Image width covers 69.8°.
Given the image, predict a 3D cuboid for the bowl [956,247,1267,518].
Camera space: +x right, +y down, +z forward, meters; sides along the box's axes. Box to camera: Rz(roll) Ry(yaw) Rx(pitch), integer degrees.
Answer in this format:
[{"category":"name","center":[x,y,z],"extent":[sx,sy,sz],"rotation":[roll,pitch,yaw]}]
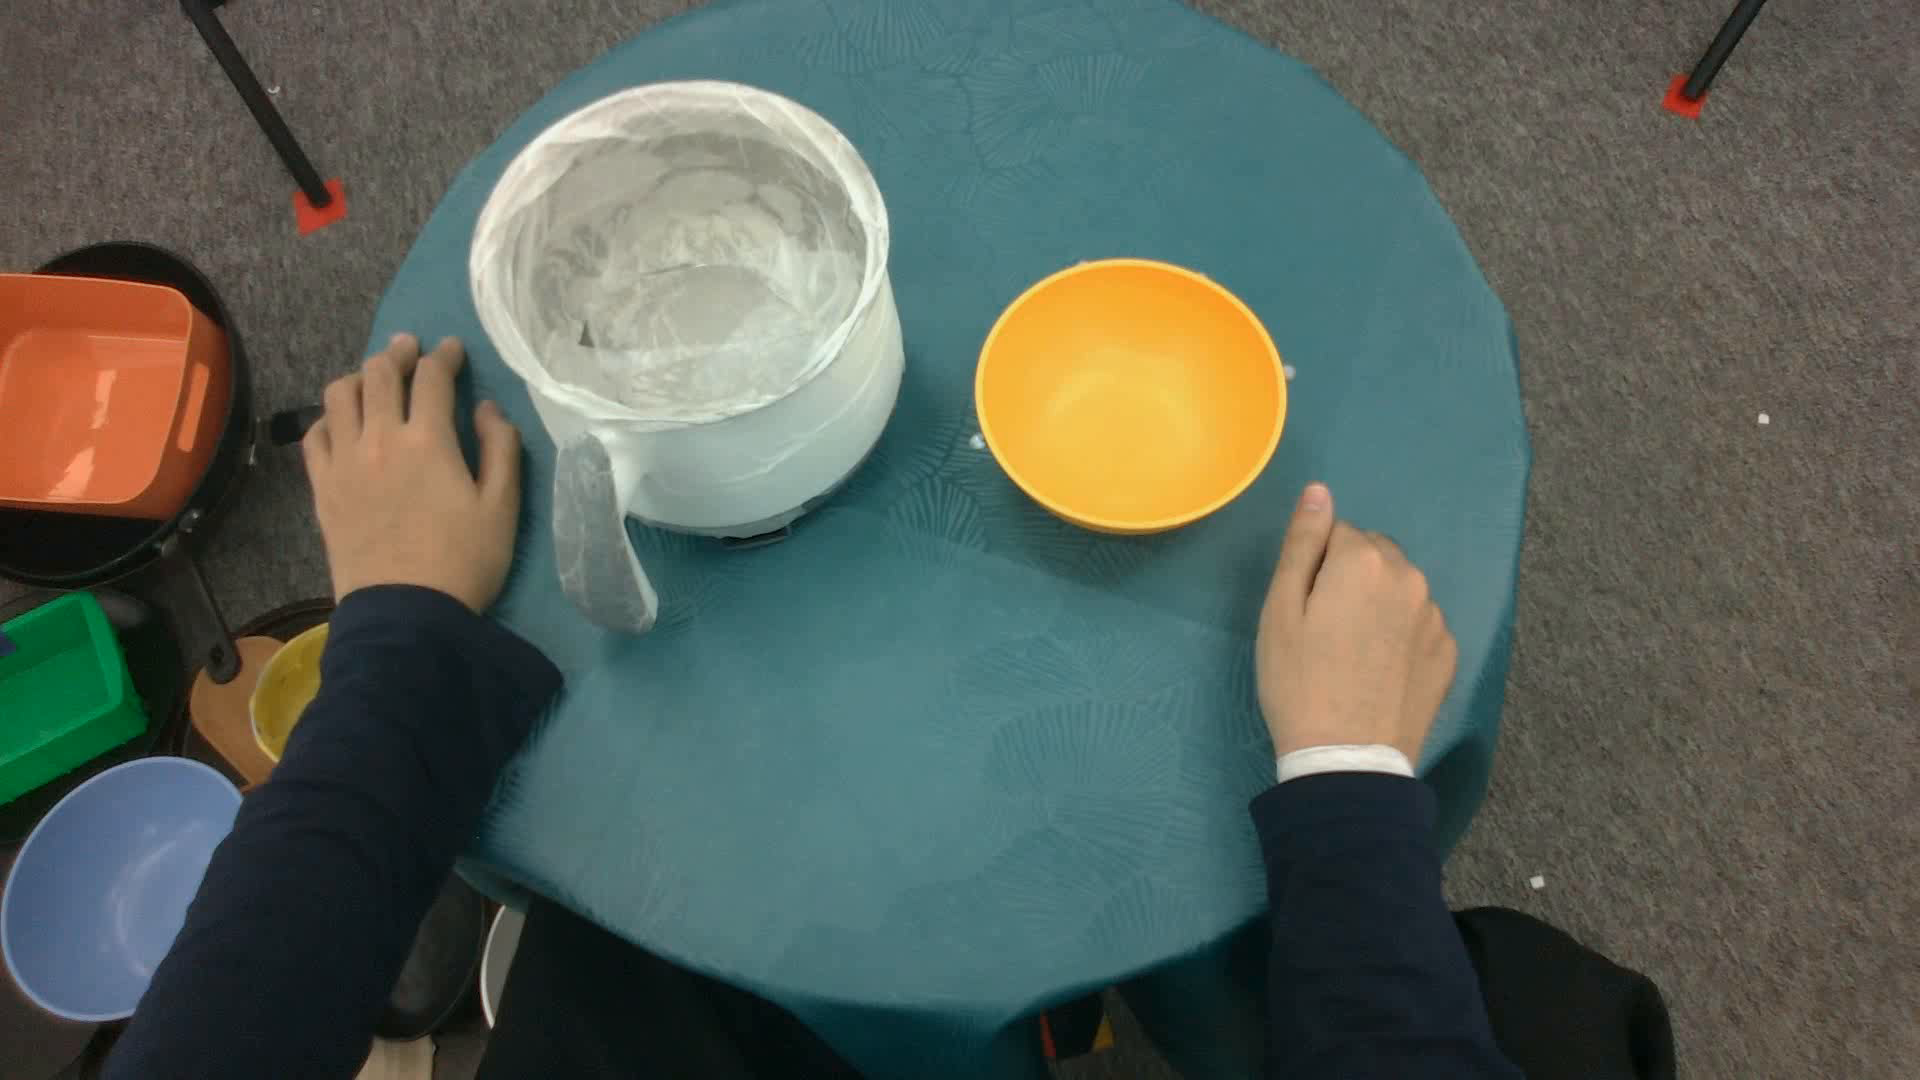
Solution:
[{"category":"bowl","center":[0.071,-0.067,0.668],"extent":[0.145,0.060,0.146],"rotation":[0,65,1]}]

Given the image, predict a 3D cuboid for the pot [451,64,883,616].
[{"category":"pot","center":[-0.134,-0.085,0.633],"extent":[0.178,0.136,0.234],"rotation":[14,66,8]}]
